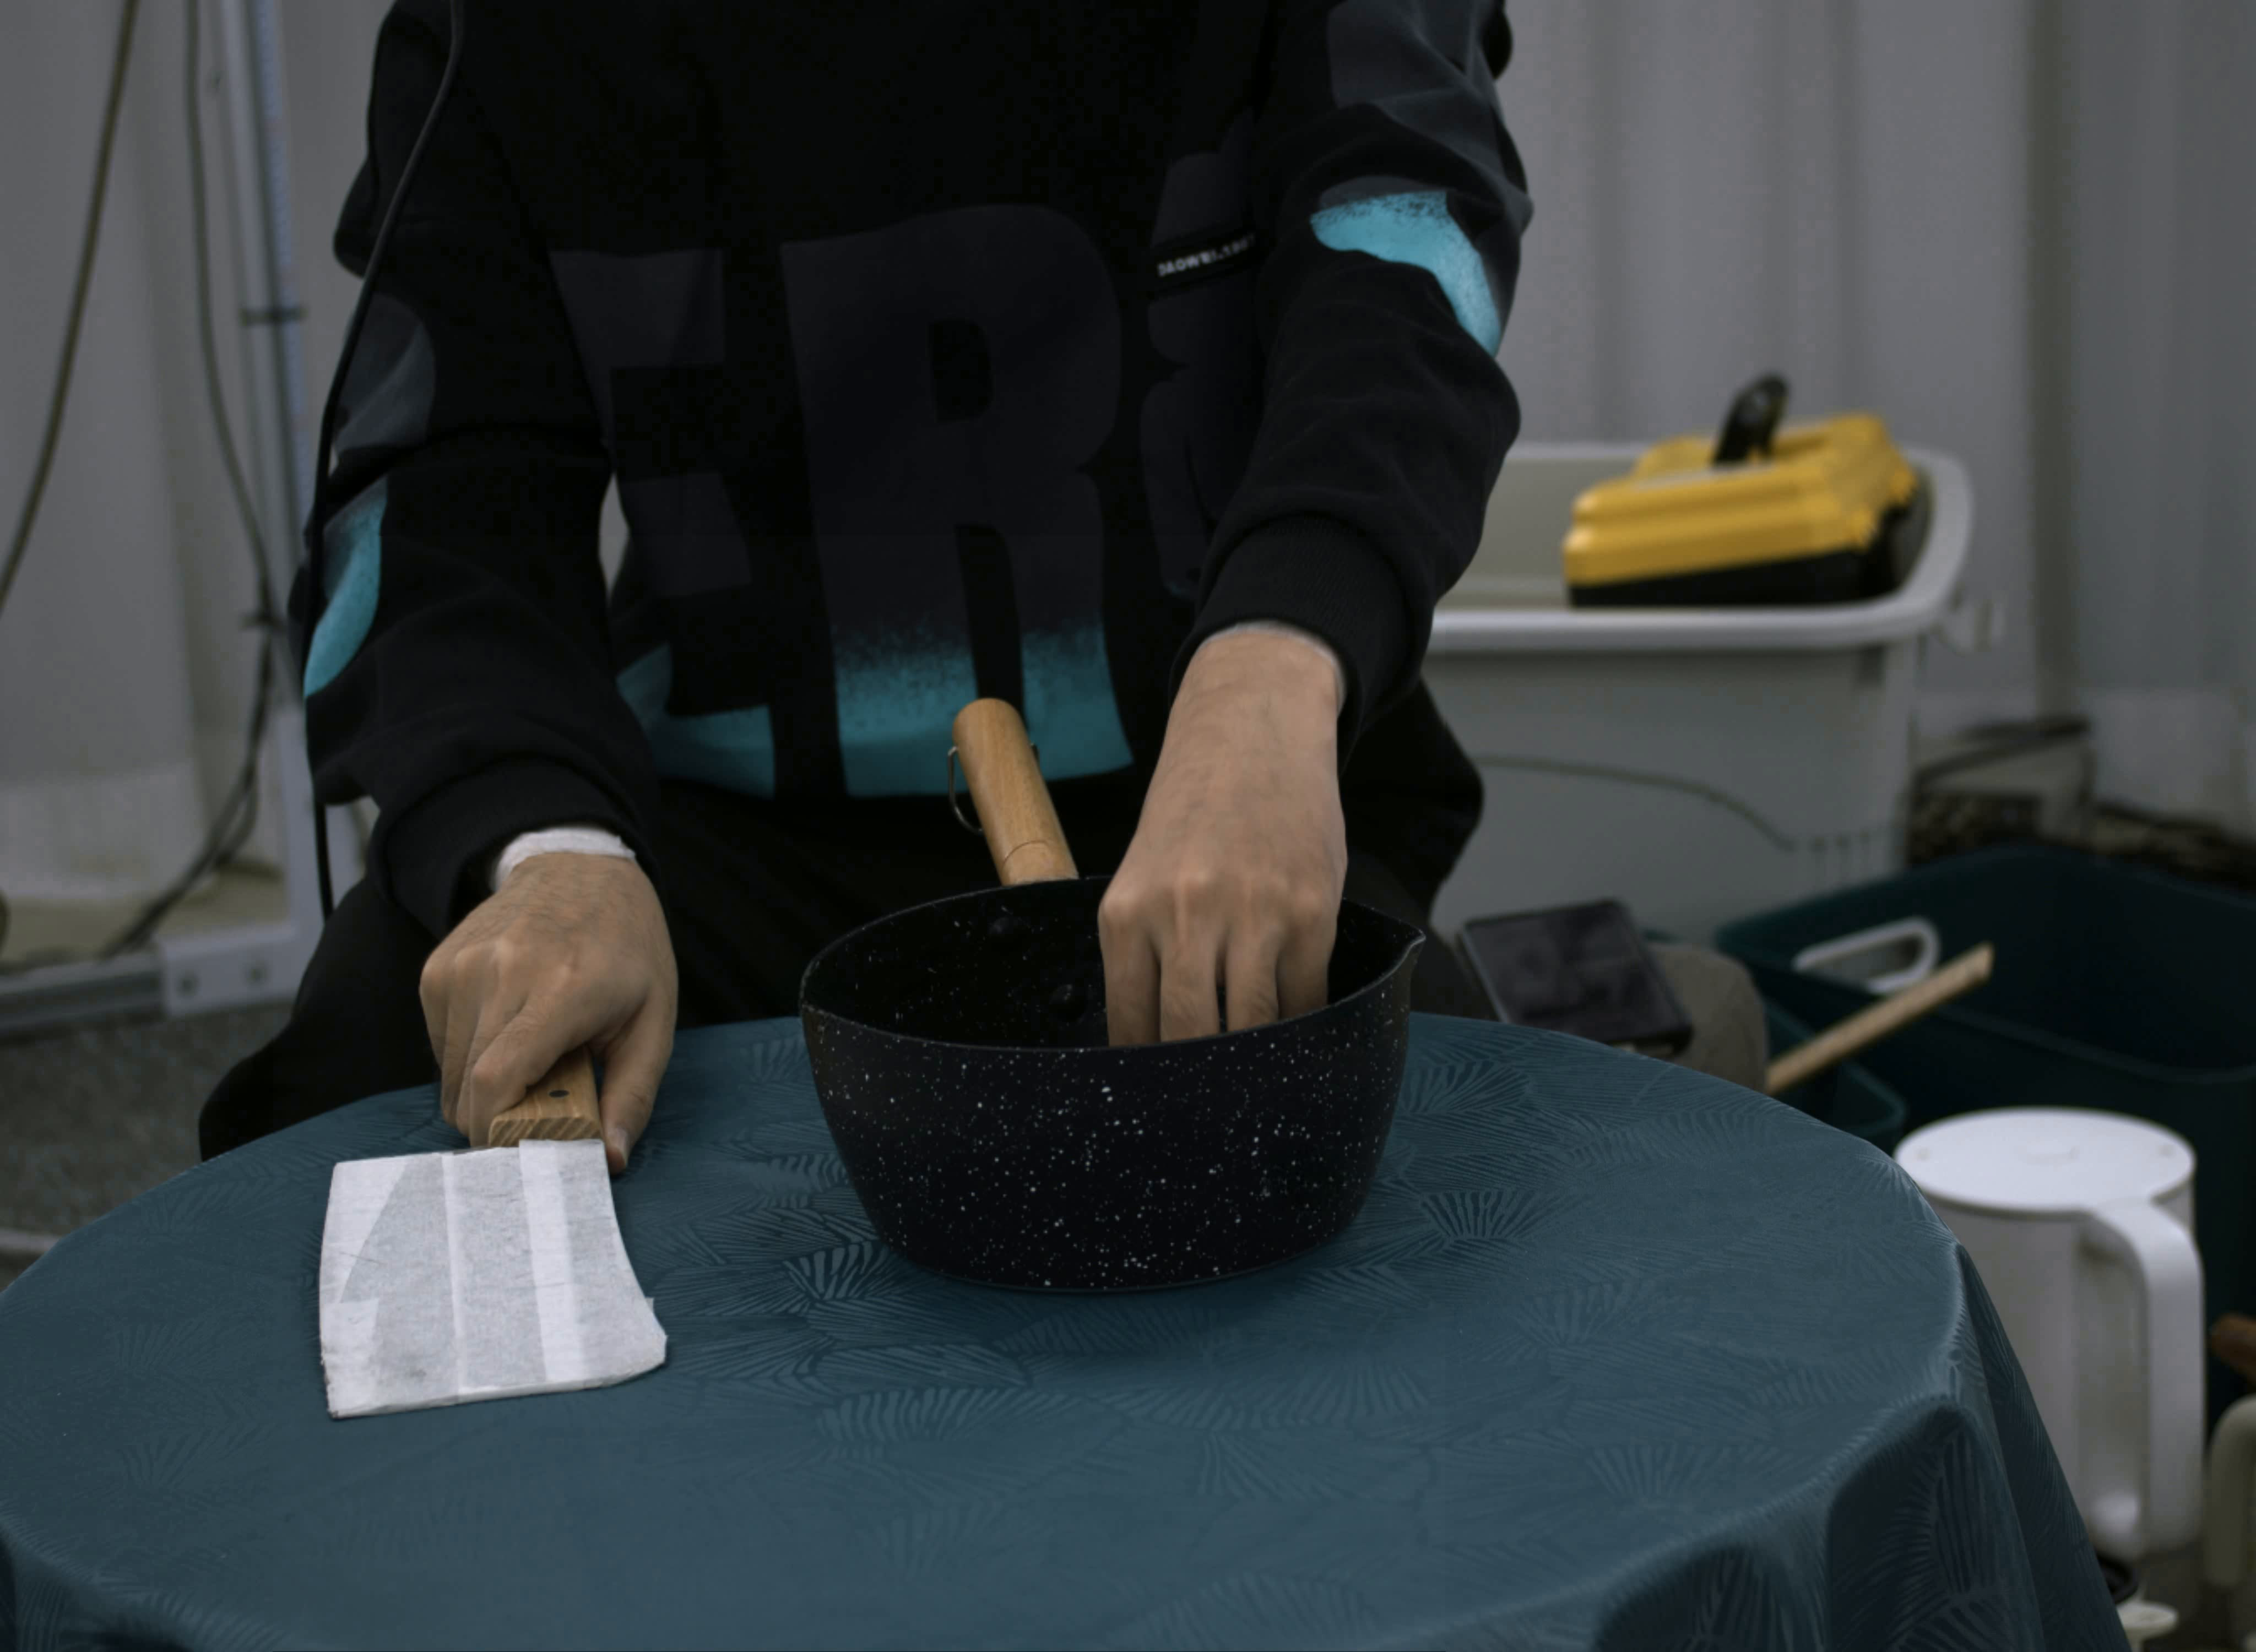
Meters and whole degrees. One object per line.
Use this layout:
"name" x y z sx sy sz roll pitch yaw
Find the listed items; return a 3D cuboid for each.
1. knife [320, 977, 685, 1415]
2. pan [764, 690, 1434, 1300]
"knife" -0.195 0.113 1.706 0.113 0.021 0.318 -4 20 -3
"pan" -0.021 0.049 1.755 0.206 0.108 0.345 -7 17 -10
